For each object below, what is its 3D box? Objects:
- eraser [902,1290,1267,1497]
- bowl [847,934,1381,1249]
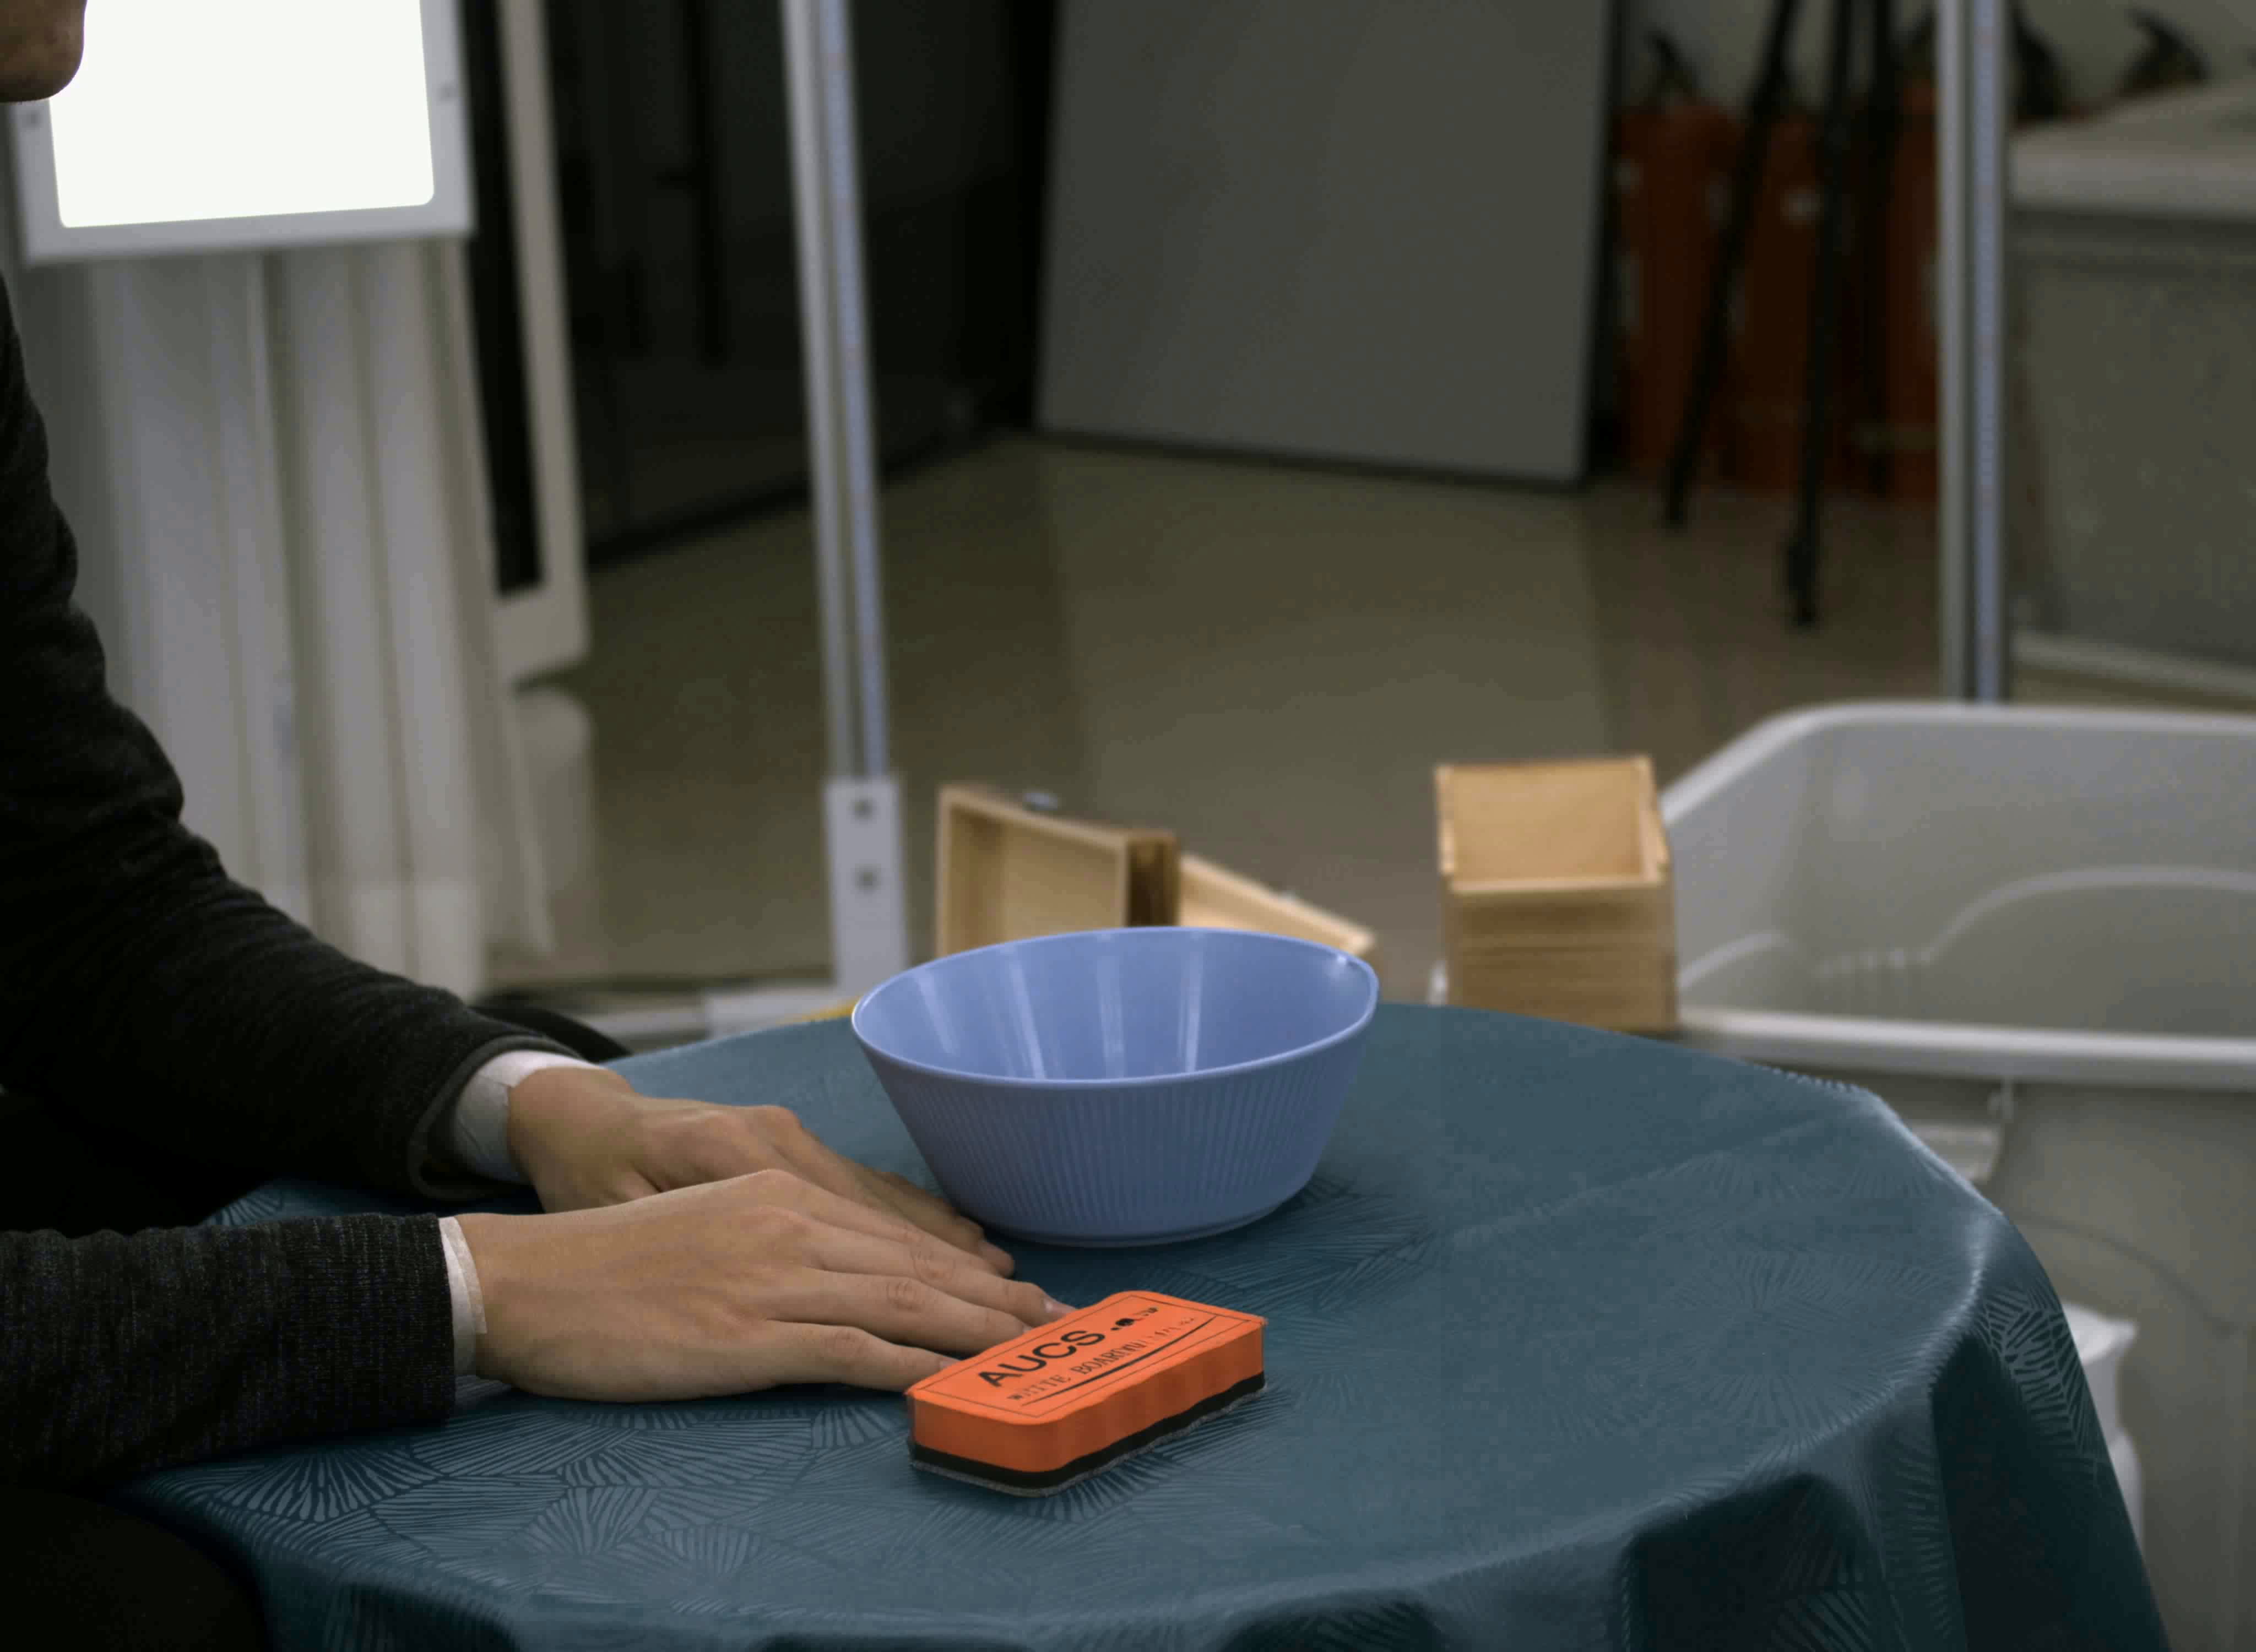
[{"bbox_3d":[-0.012,0.163,1.554,0.059,0.023,0.106,10,20,41],"label":"eraser"},{"bbox_3d":[-0.003,0.088,1.758,0.174,0.071,0.176,-4,14,0],"label":"bowl"}]
